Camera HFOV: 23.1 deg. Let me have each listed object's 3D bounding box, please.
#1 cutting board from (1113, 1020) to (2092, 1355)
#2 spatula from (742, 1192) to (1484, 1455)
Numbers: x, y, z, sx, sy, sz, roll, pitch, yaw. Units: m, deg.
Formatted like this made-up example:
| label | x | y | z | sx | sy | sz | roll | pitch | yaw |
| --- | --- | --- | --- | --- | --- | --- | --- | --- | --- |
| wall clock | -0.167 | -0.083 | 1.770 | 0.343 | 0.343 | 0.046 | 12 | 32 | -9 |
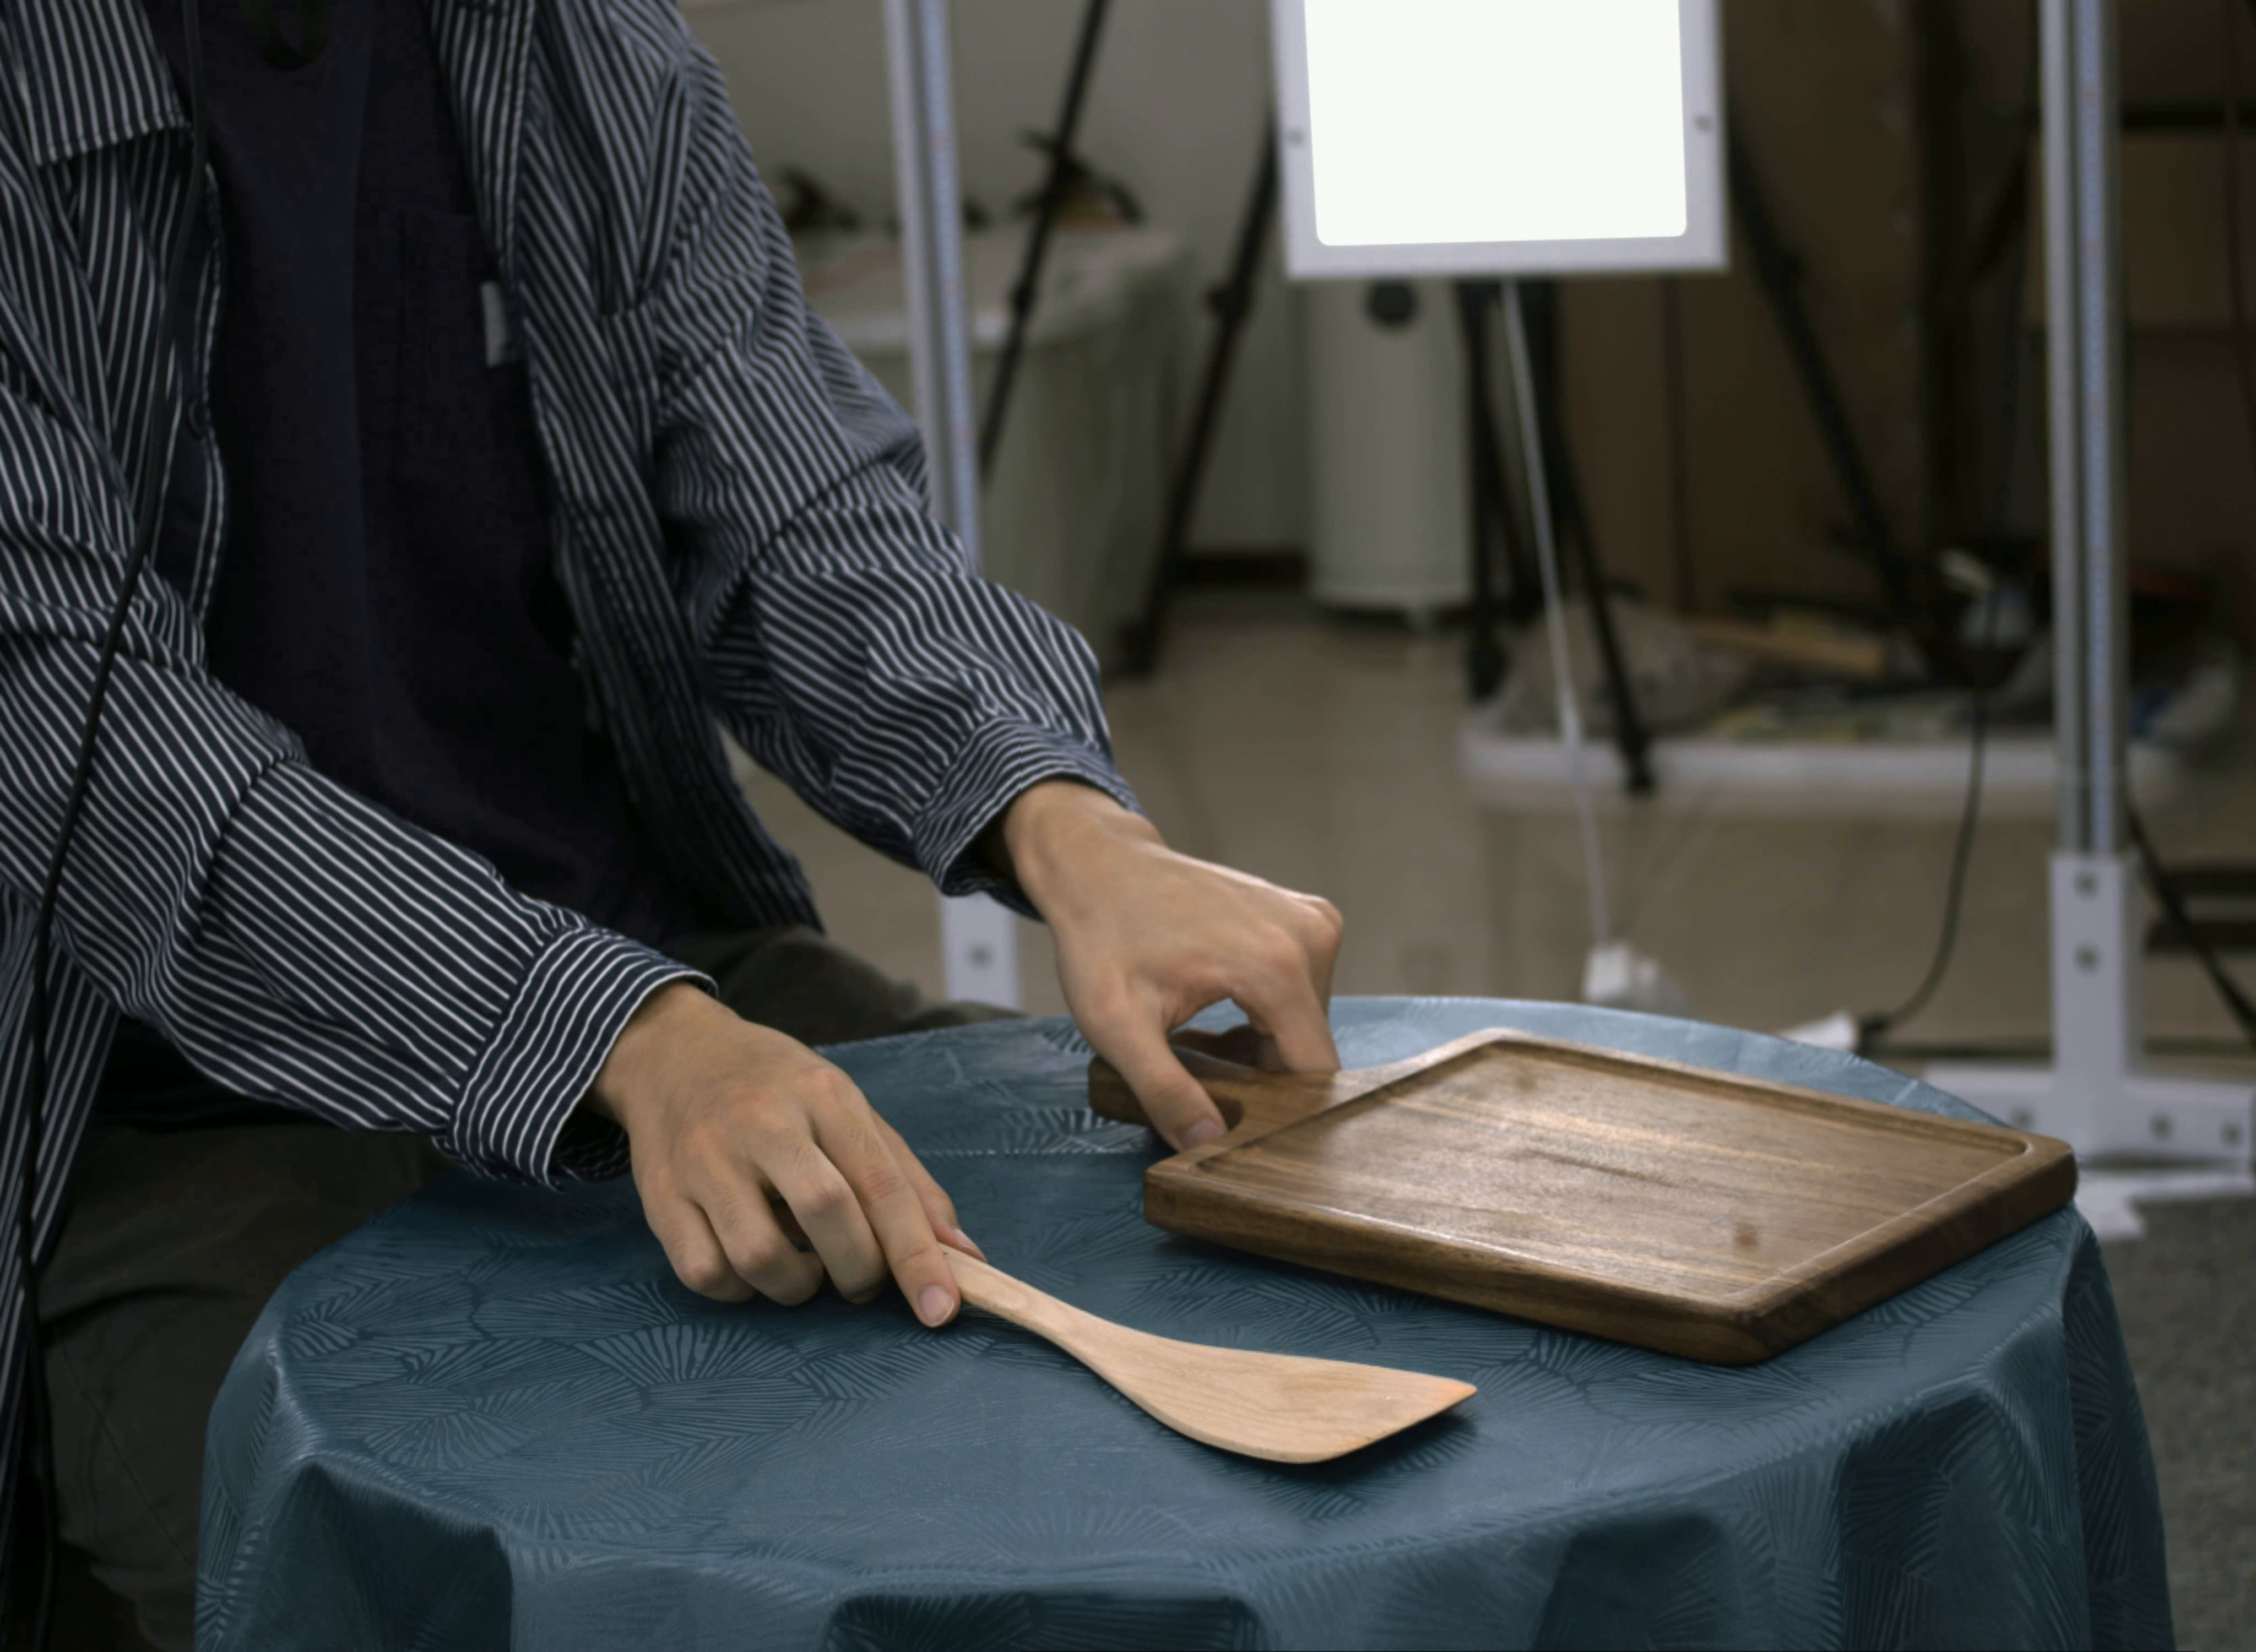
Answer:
| label | x | y | z | sx | sy | sz | roll | pitch | yaw |
| --- | --- | --- | --- | --- | --- | --- | --- | --- | --- |
| cutting board | 0.132 | 0.108 | 1.852 | 0.360 | 0.023 | 0.196 | 10 | 20 | 43 |
| spatula | -0.017 | 0.152 | 1.748 | 0.078 | 0.016 | 0.334 | -14 | 19 | -38 |
